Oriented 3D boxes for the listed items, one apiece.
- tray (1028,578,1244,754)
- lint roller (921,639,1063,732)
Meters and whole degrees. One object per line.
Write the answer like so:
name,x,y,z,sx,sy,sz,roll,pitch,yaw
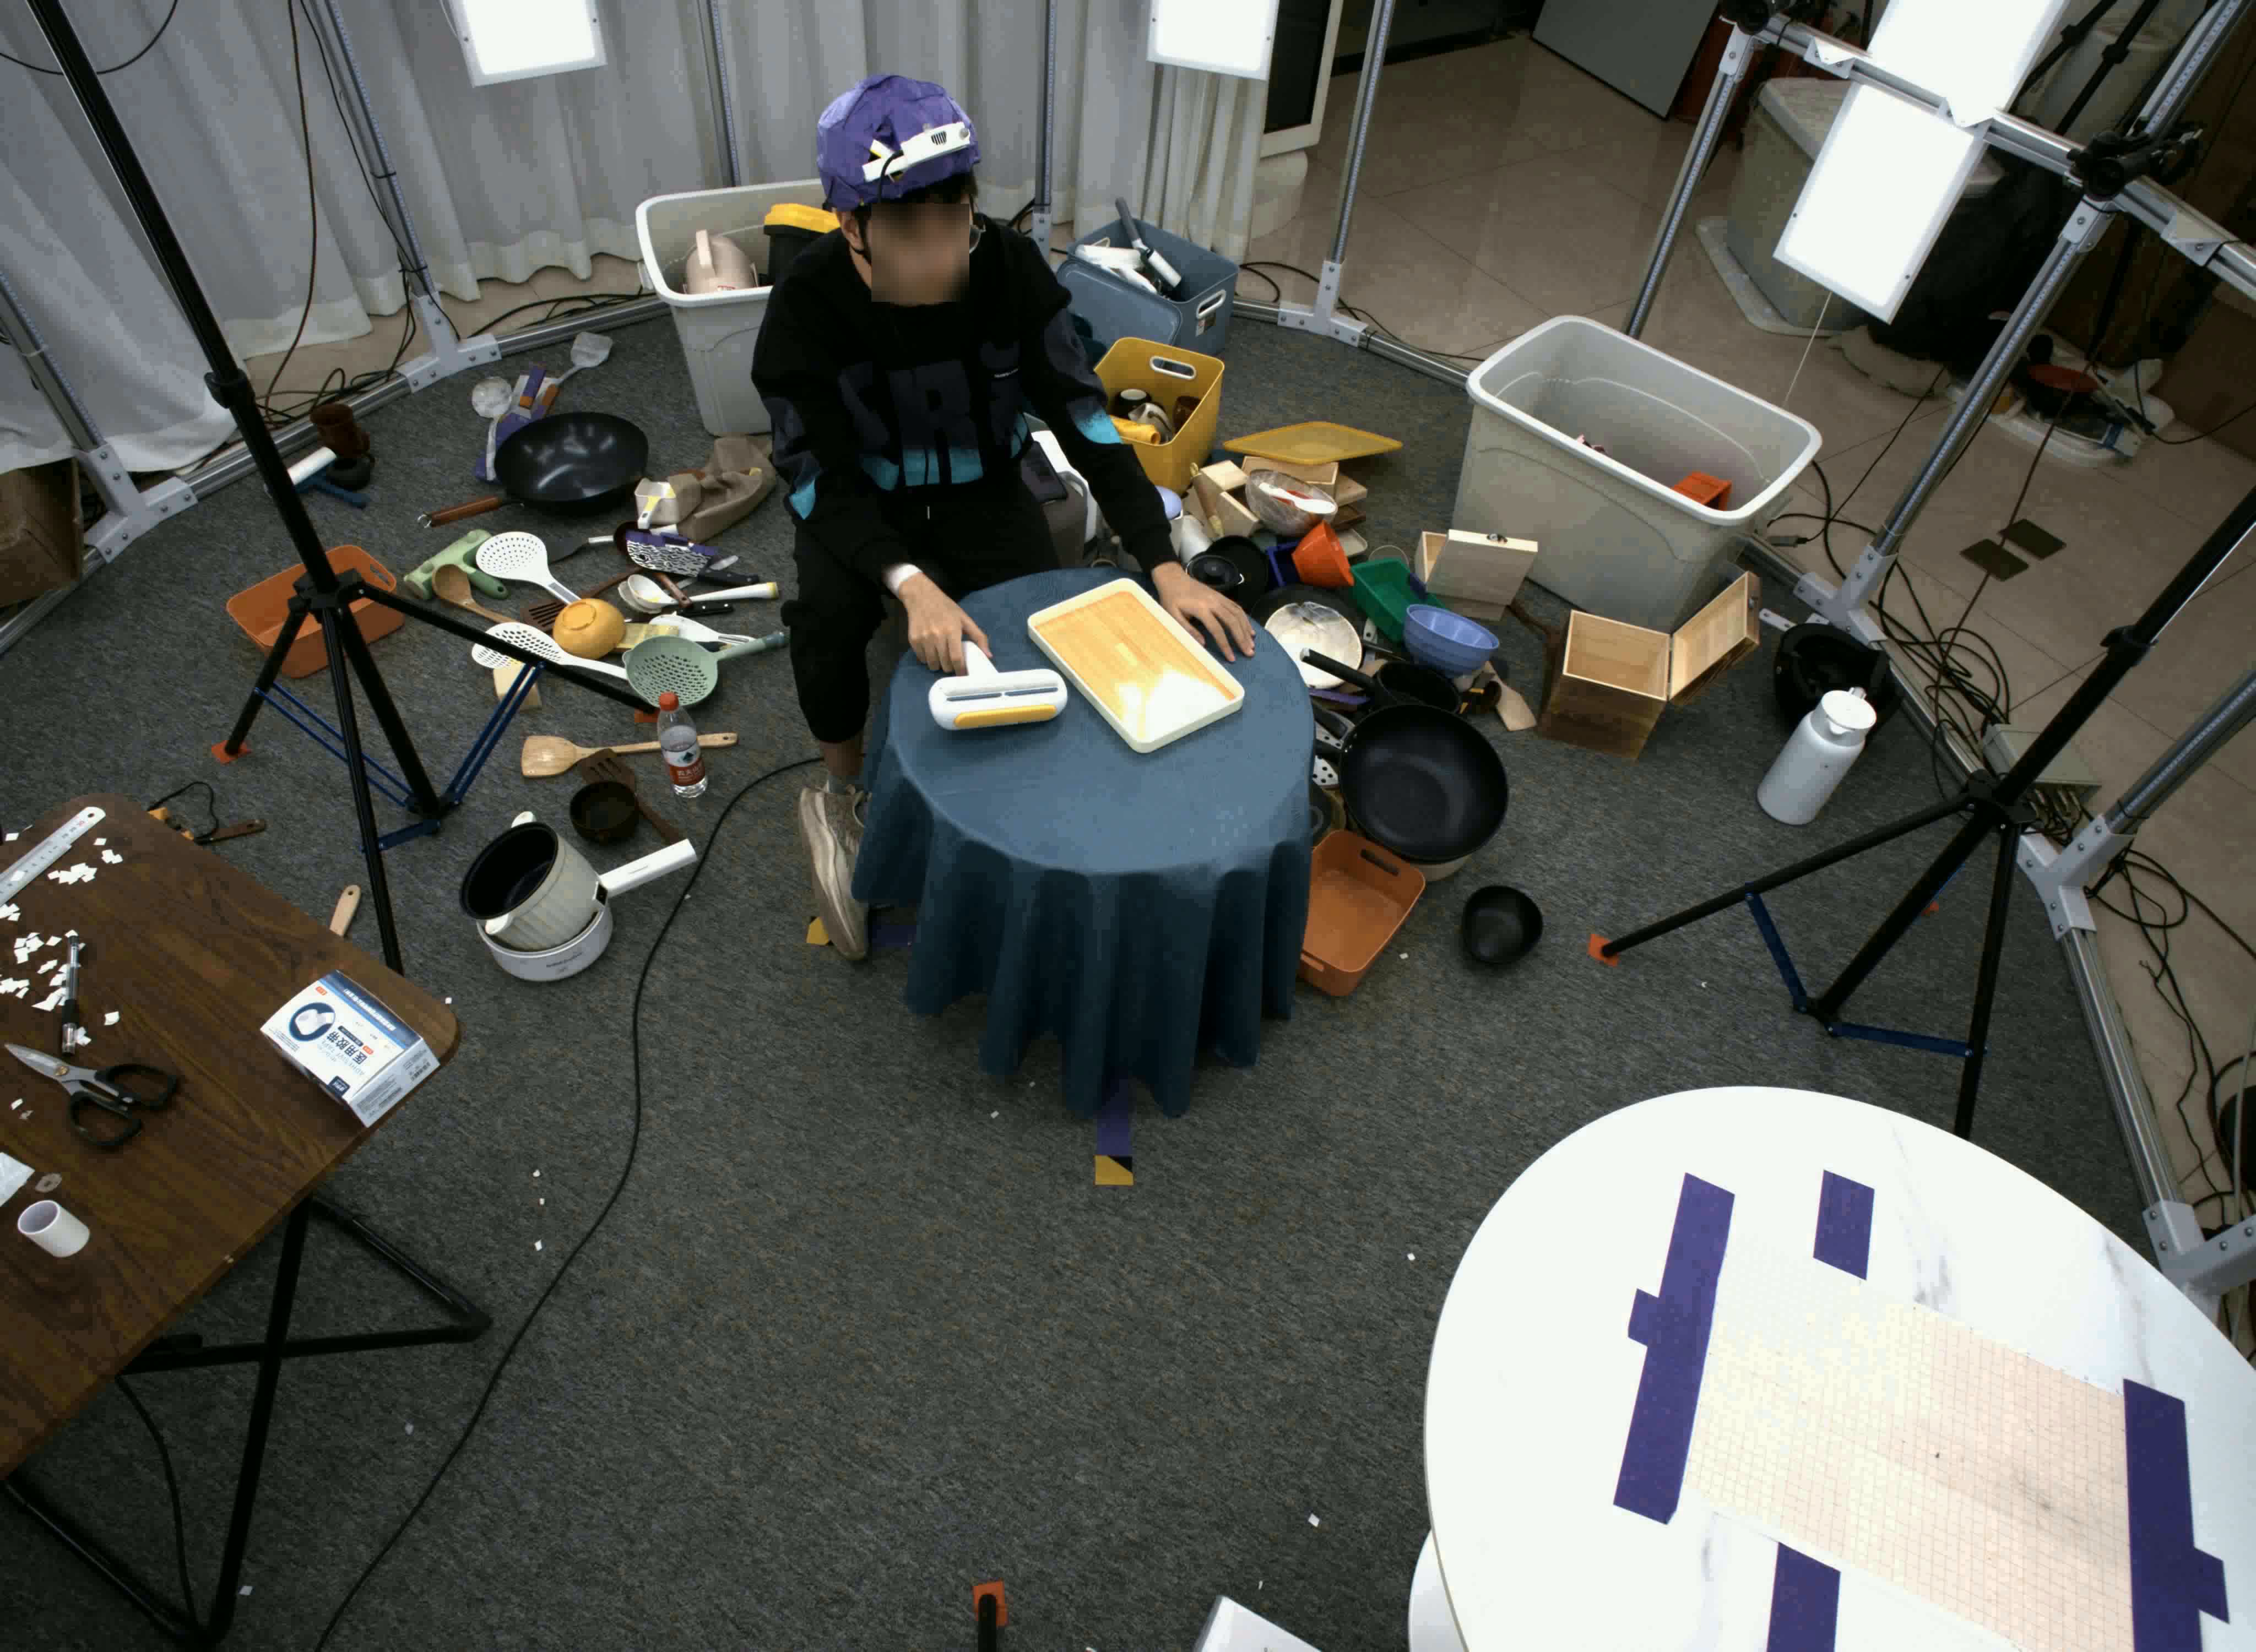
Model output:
tray,0.008,-0.238,1.857,0.192,0.027,0.306,-26,56,-23
lint roller,-0.202,-0.209,1.793,0.192,0.072,0.197,-8,48,-17
